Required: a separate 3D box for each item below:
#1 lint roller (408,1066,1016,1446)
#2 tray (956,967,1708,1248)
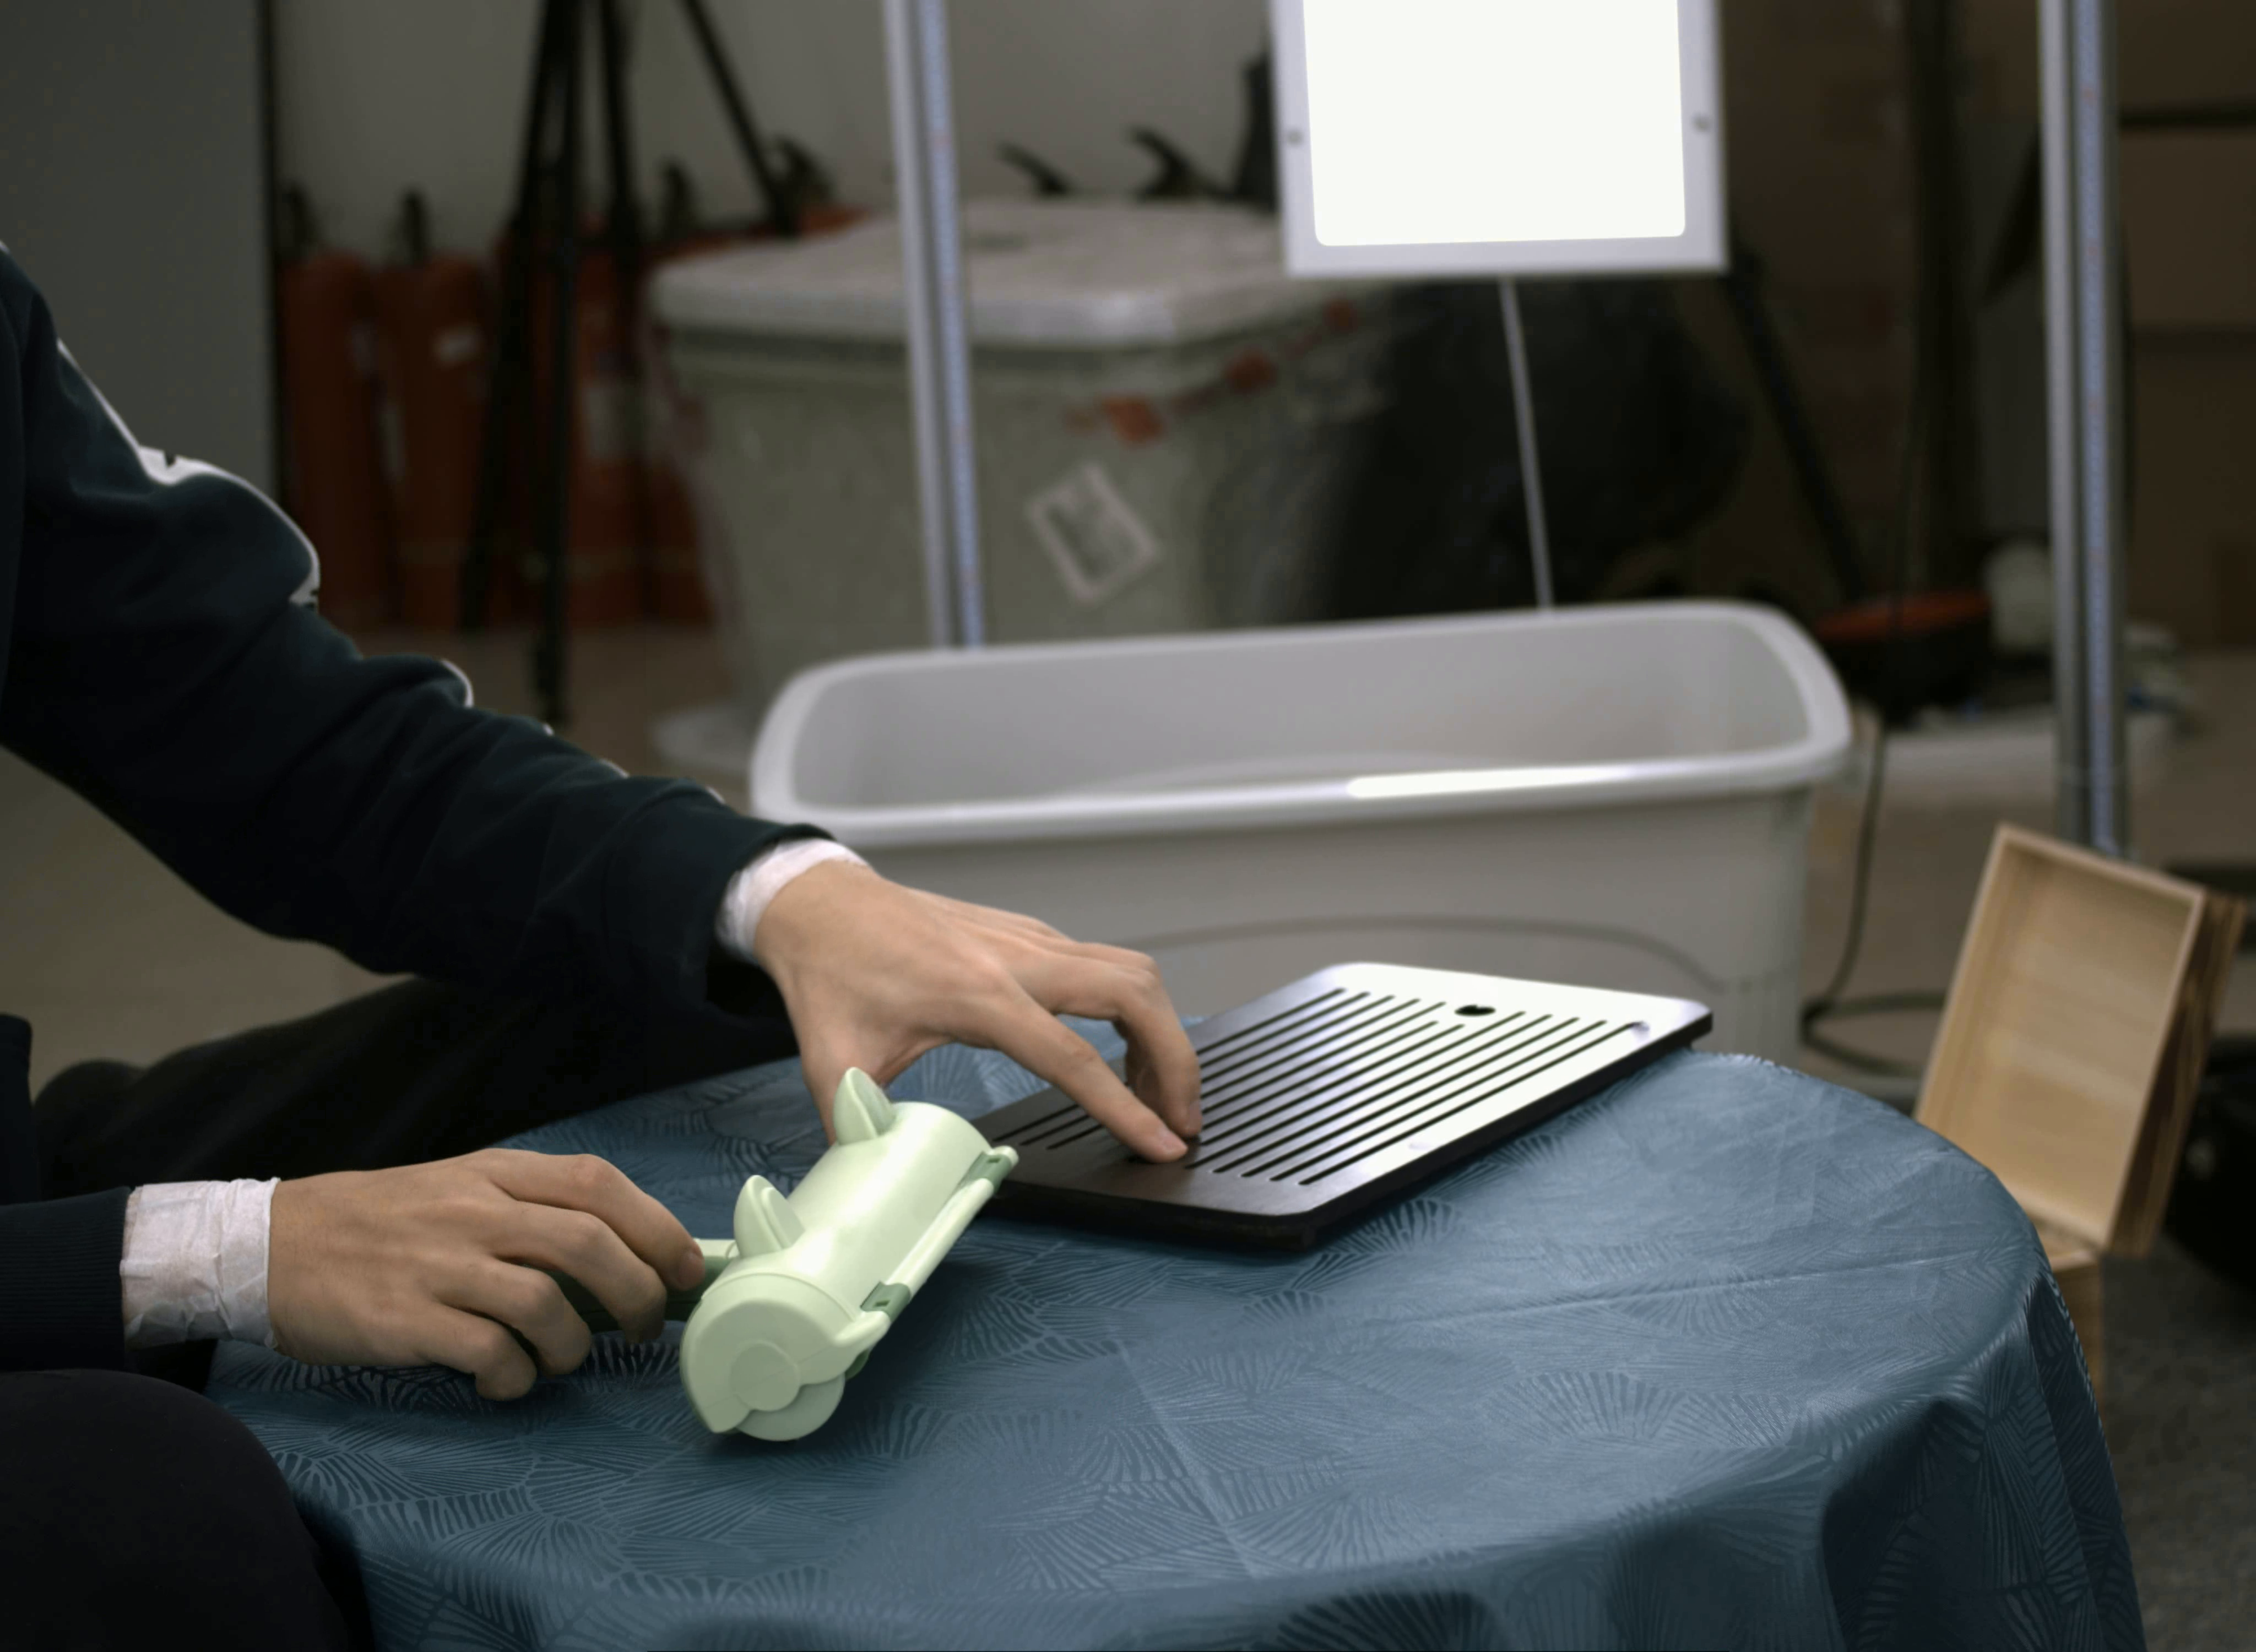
[{"bbox_3d":[-0.144,0.131,1.762,0.185,0.082,0.196,2,15,14],"label":"lint roller"},{"bbox_3d":[0.067,0.098,1.966,0.173,0.019,0.298,5,15,35],"label":"tray"}]
